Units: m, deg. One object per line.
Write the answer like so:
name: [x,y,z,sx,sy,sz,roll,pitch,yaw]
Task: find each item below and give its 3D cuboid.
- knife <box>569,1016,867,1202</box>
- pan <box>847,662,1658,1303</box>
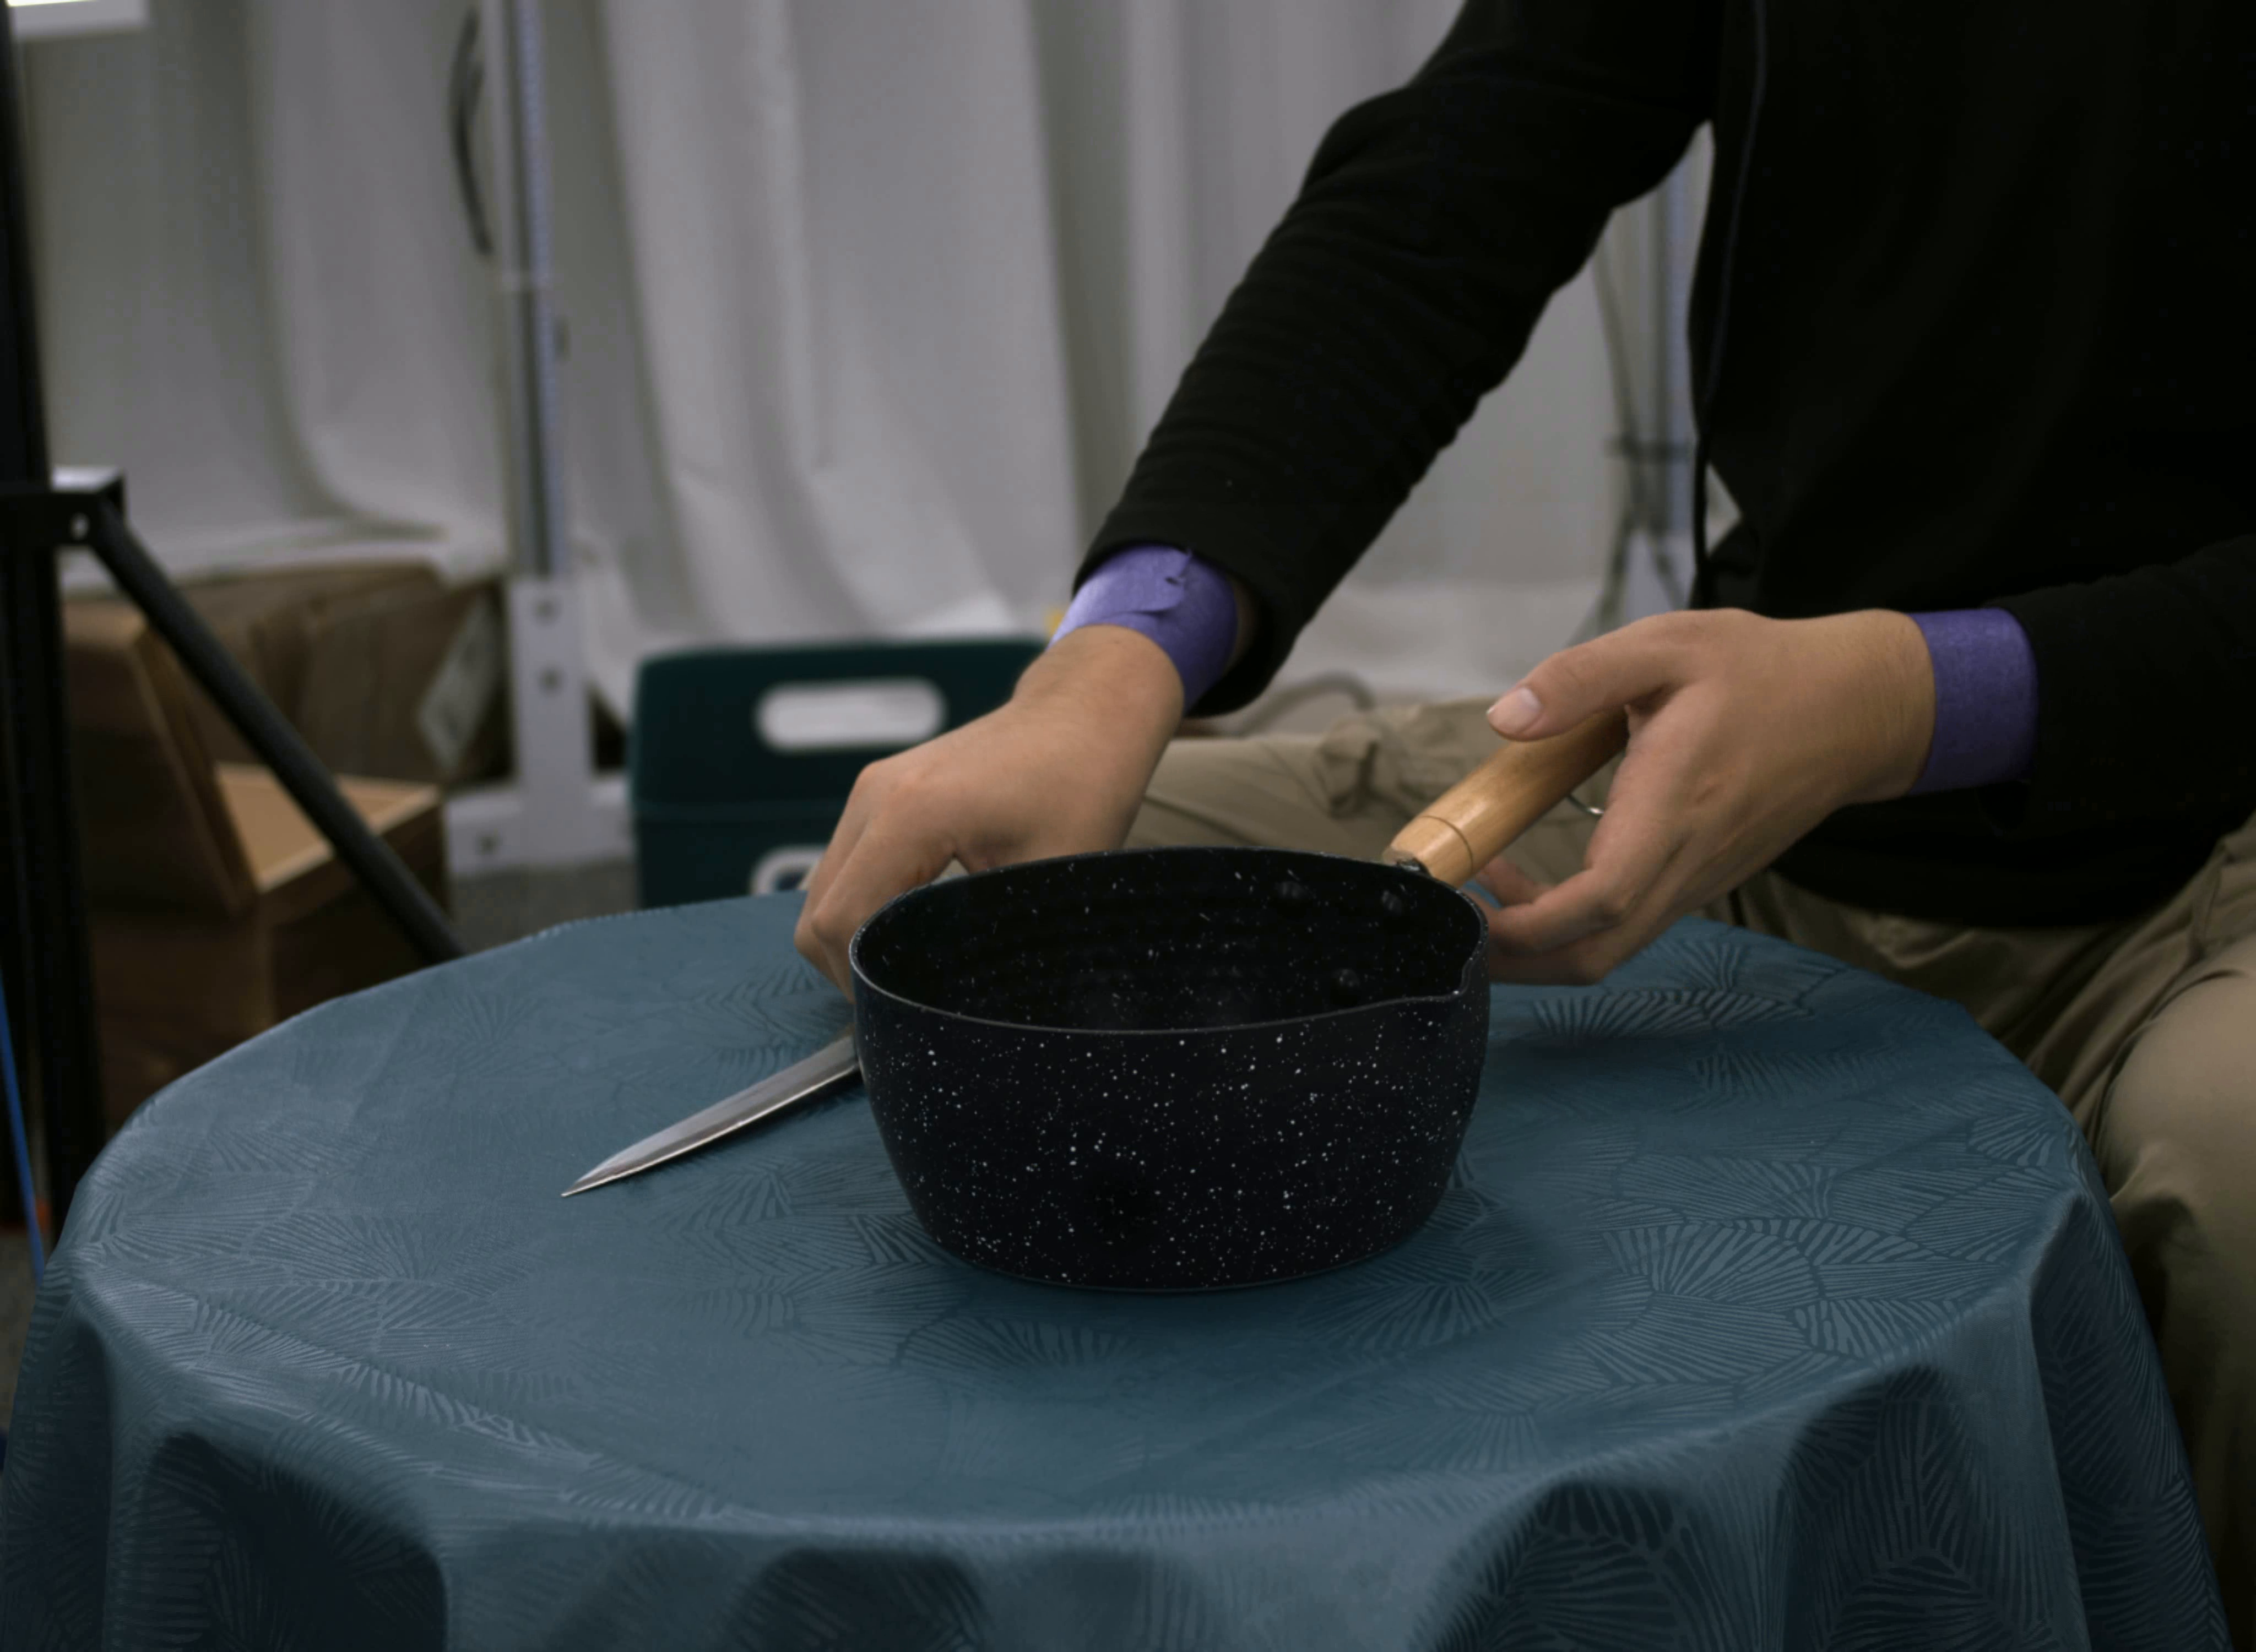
knife: [-0.094,0.076,1.660,0.025,0.016,0.233,6,21,39]
pan: [0.059,0.042,1.586,0.212,0.108,0.336,9,20,36]
